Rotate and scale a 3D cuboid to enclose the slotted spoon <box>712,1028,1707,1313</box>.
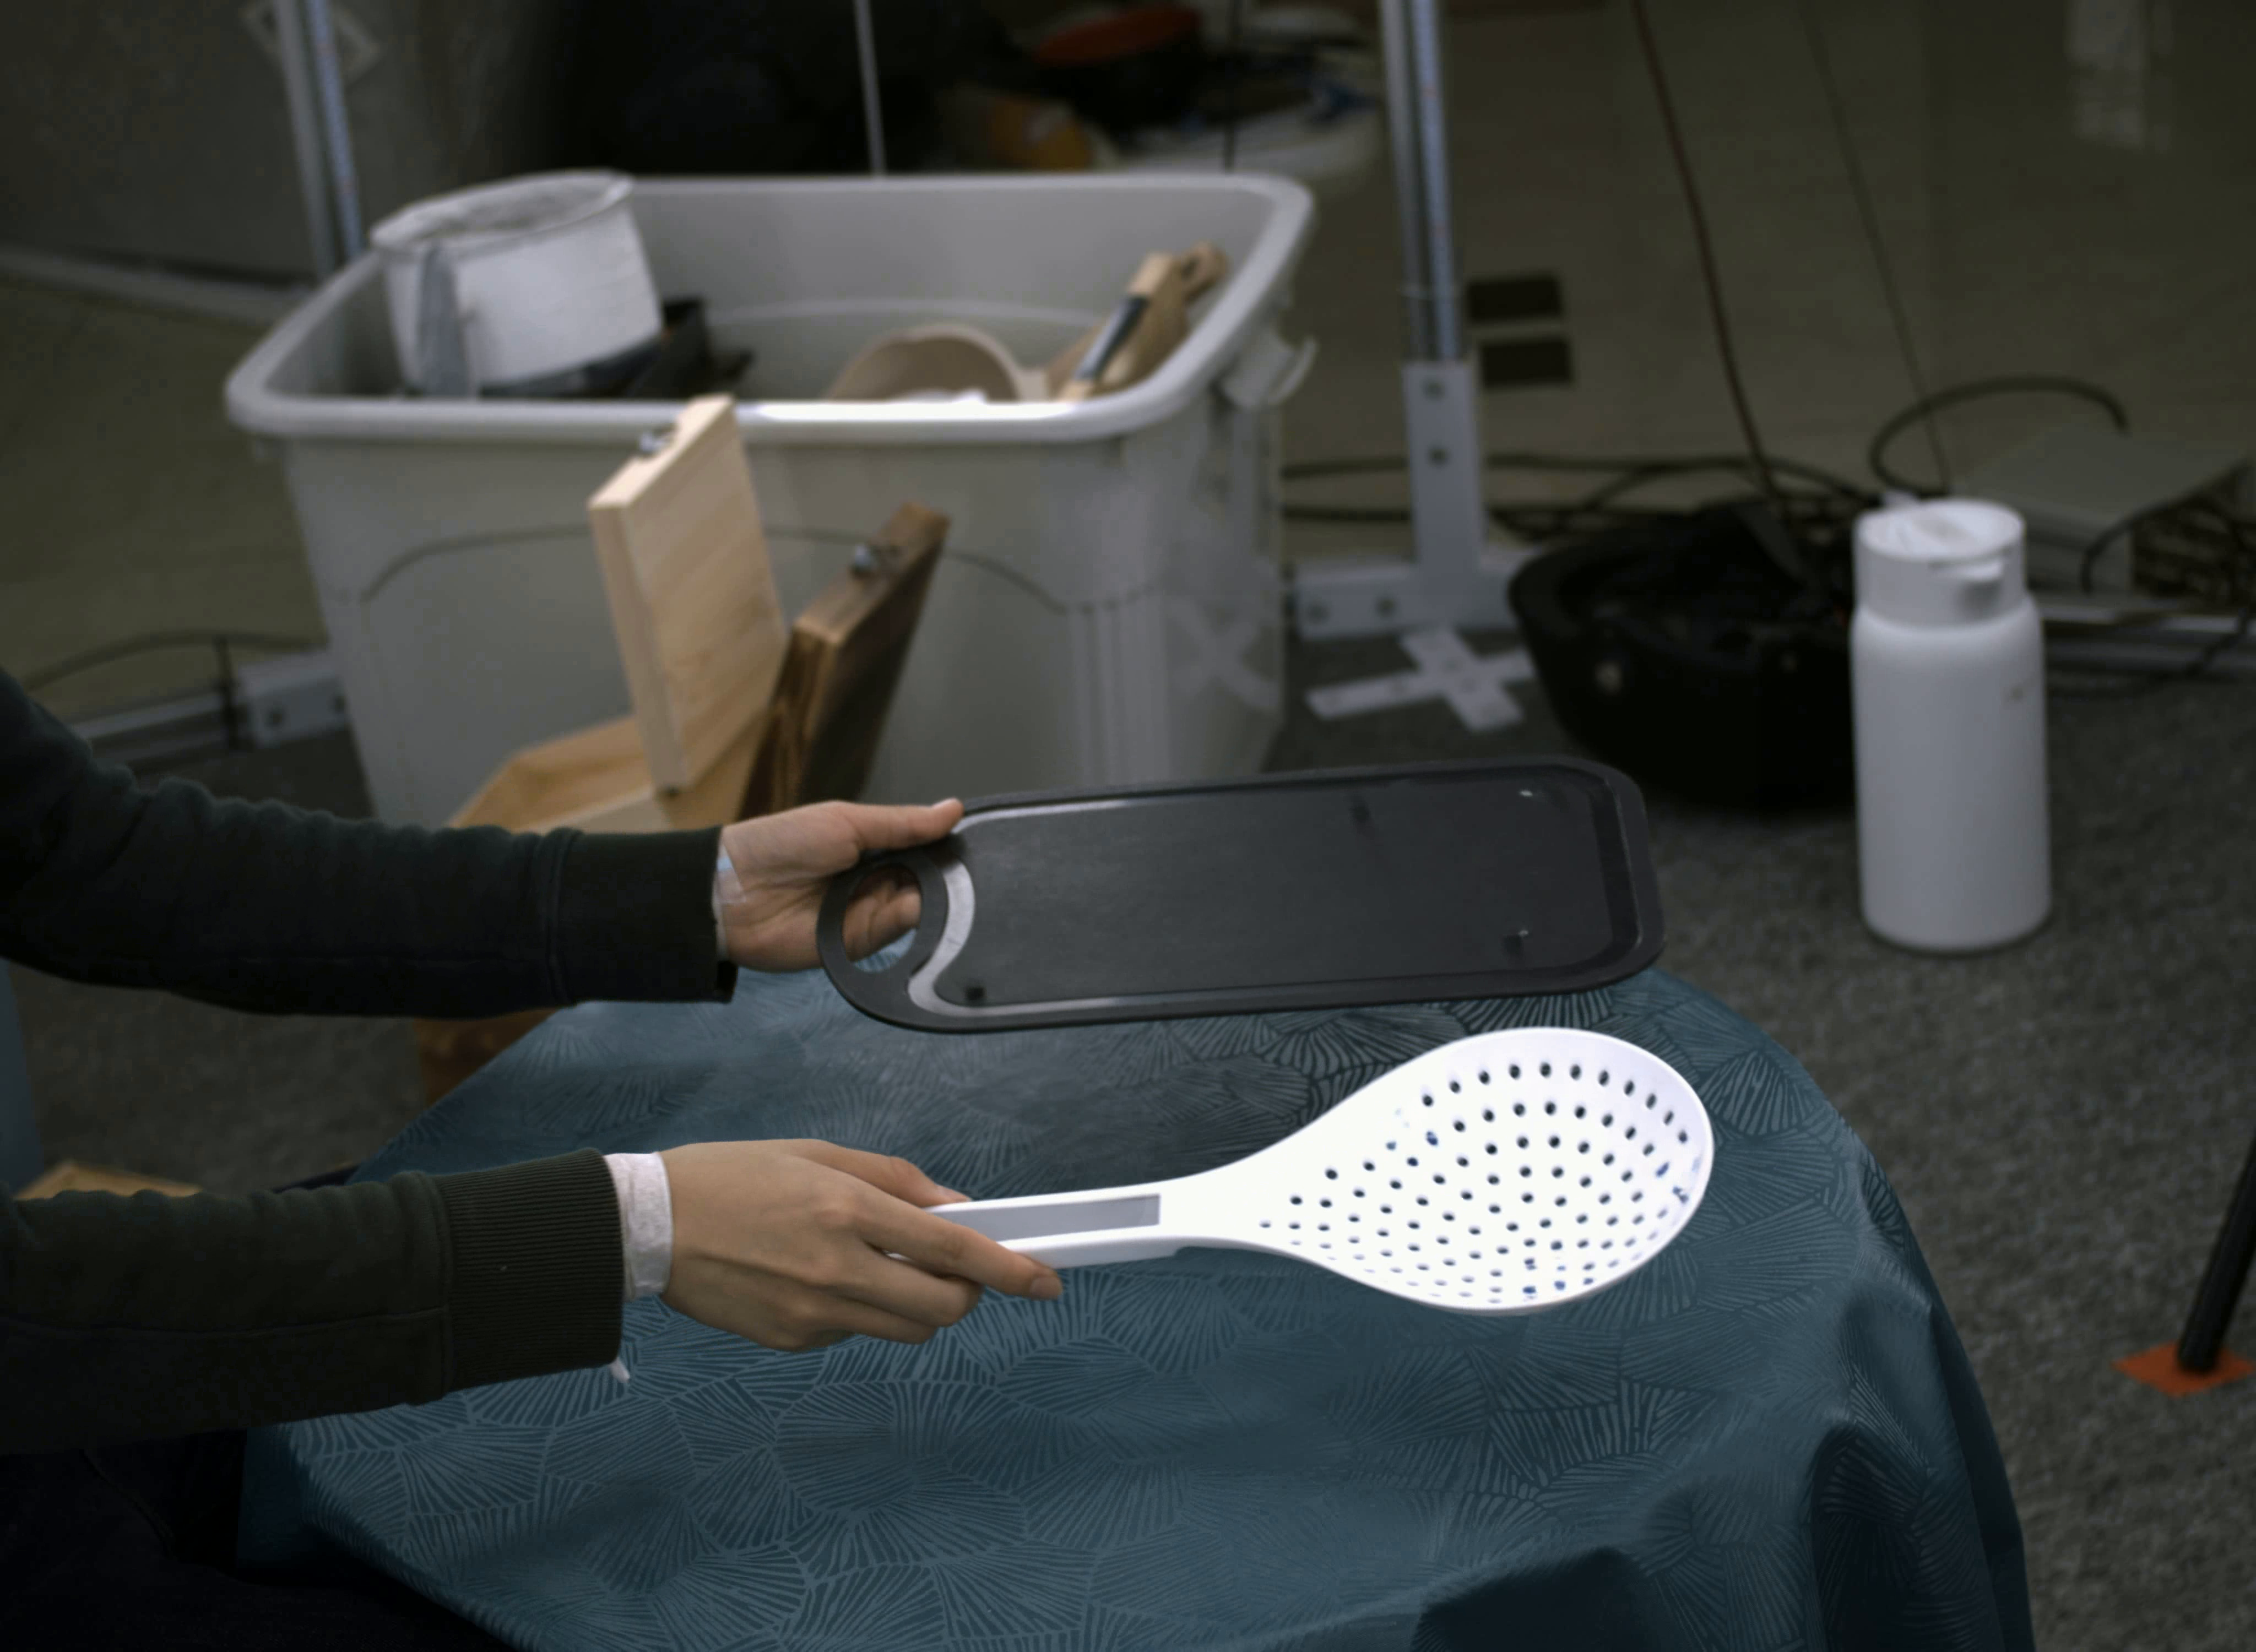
[{"bbox_3d":[0.026,0.134,1.967,0.349,0.046,0.133,-3,41,6],"label":"slotted spoon"}]

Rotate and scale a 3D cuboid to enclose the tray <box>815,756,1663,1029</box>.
[{"bbox_3d":[0.041,0.023,2.183,0.325,0.010,0.208,-4,25,3],"label":"tray"}]
